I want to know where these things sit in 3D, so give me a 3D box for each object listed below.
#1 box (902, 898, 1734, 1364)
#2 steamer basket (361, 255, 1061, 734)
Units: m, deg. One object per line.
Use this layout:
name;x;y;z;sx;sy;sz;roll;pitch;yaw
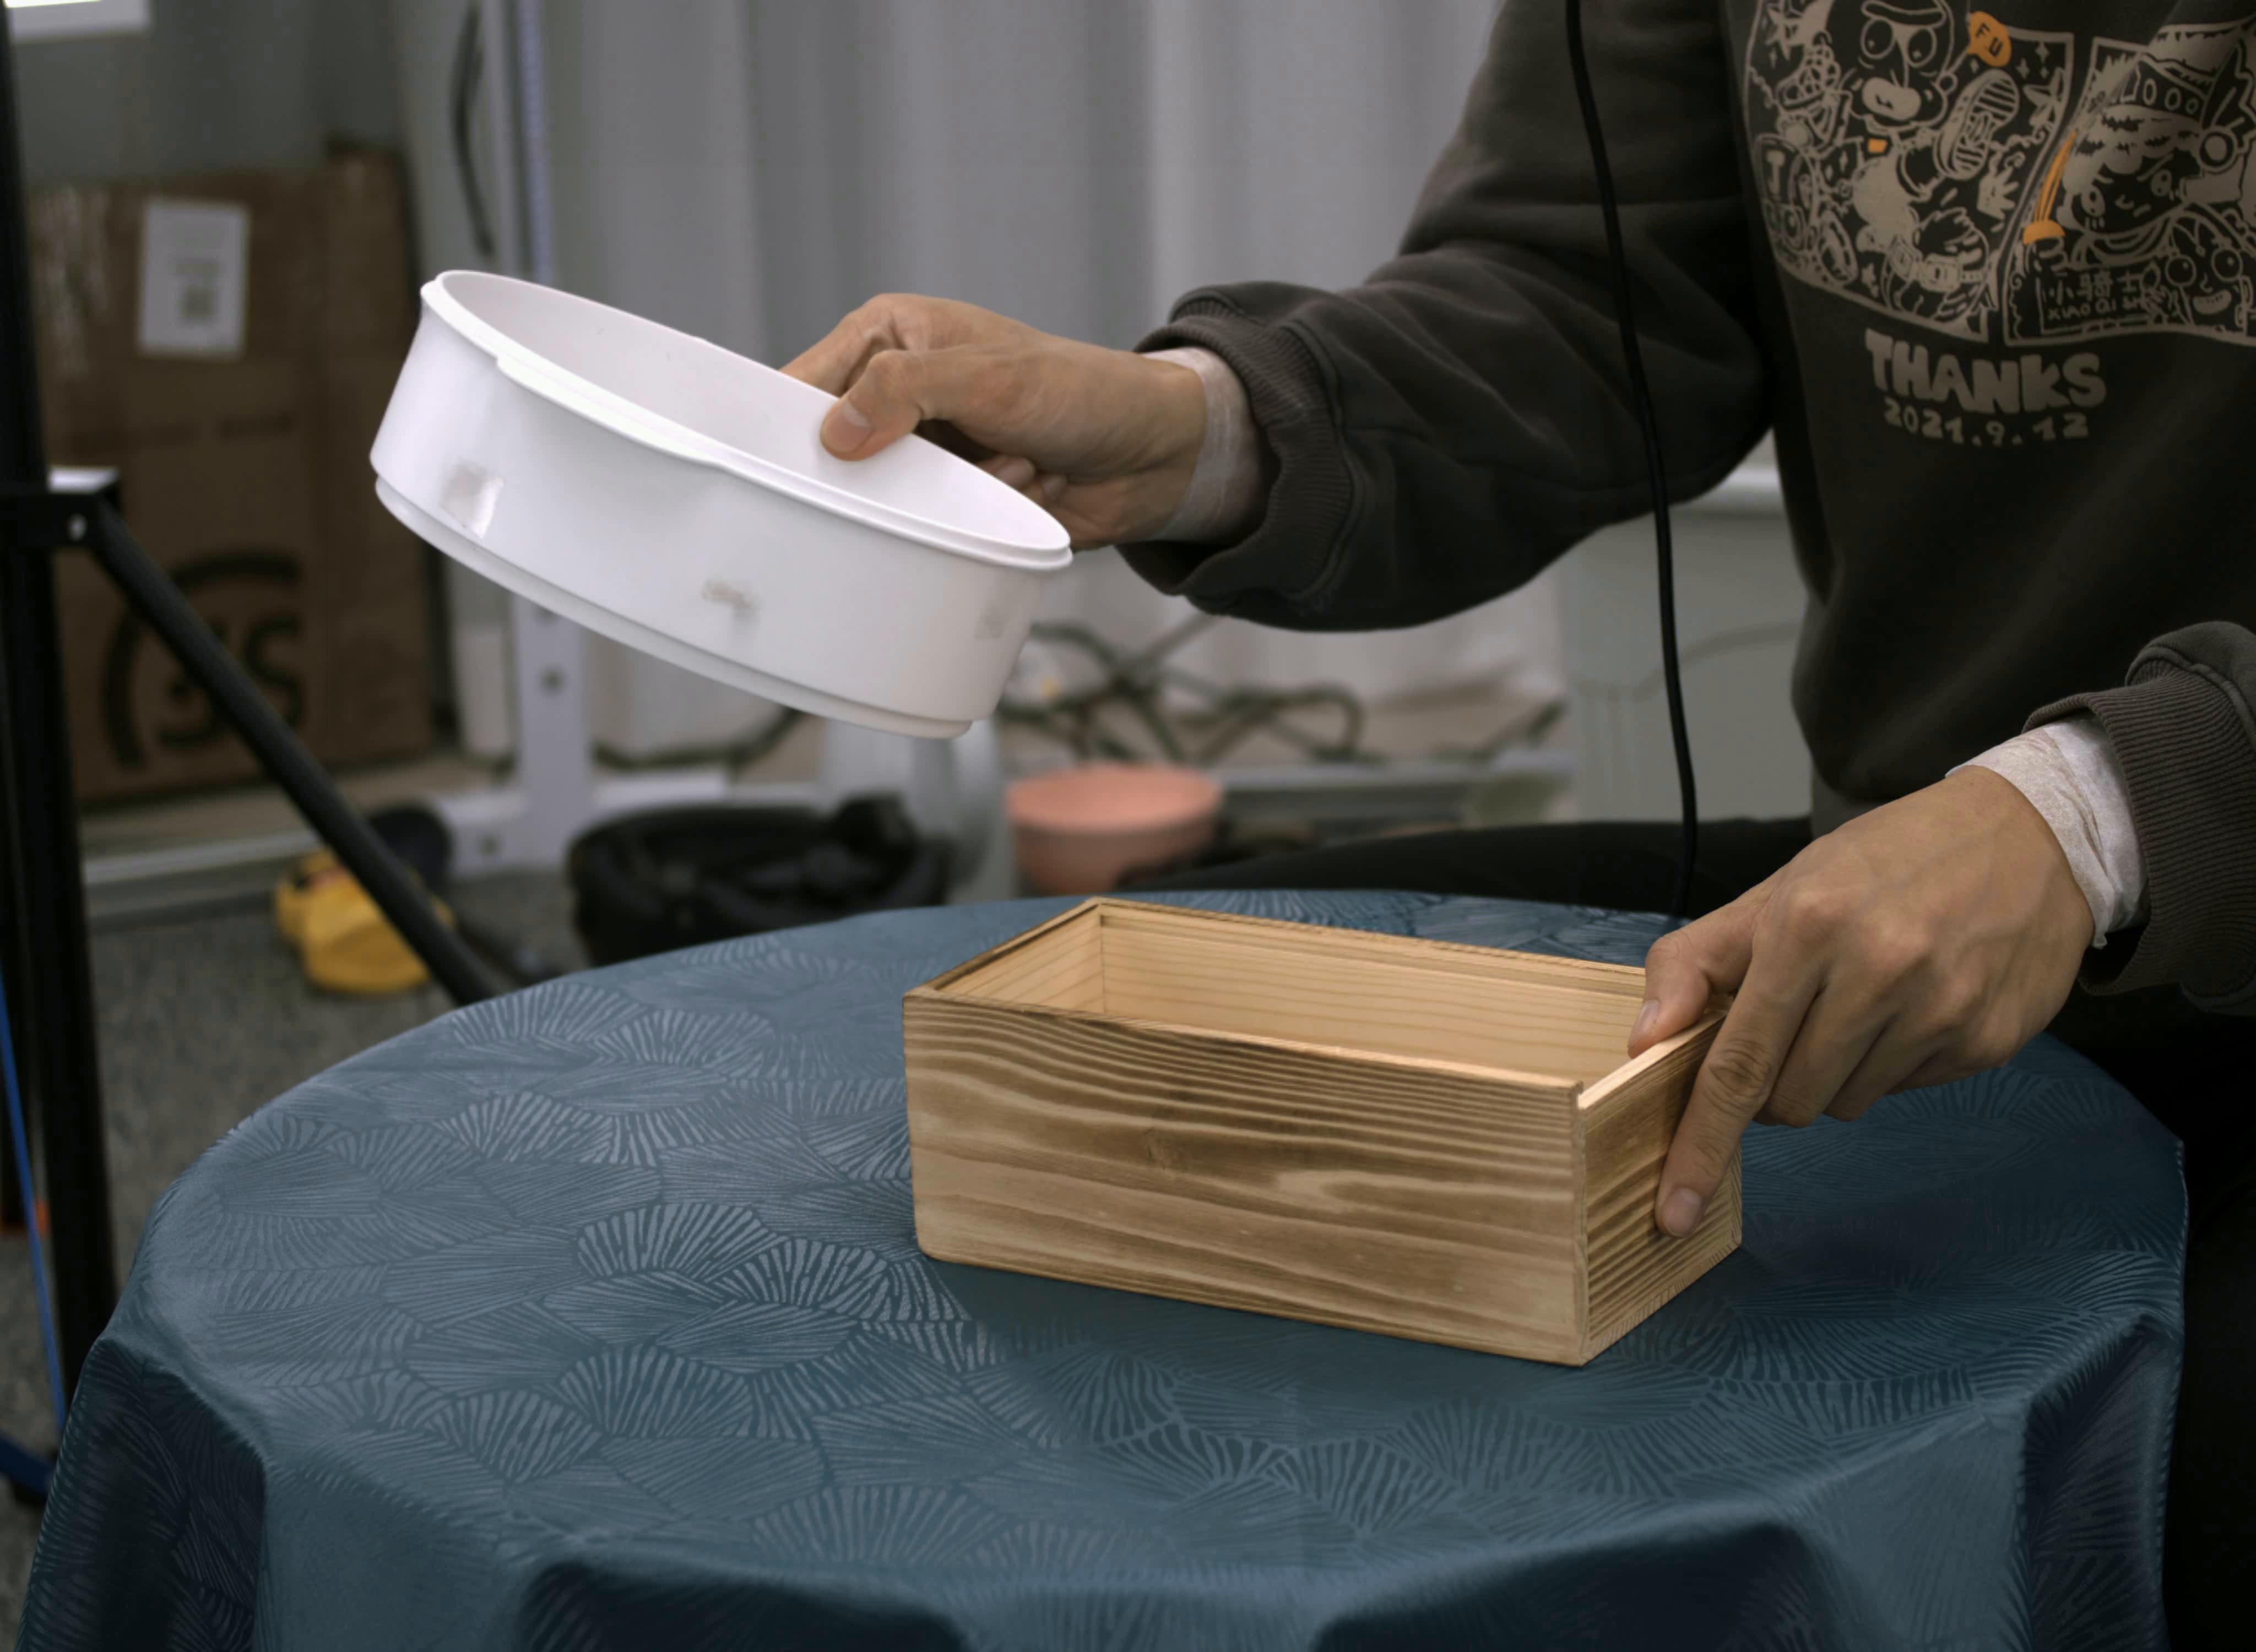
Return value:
box;0.053;0.083;1.496;0.215;0.080;0.105;7;17;31
steamer basket;-0.122;-0.092;1.532;0.204;0.069;0.227;27;10;18
